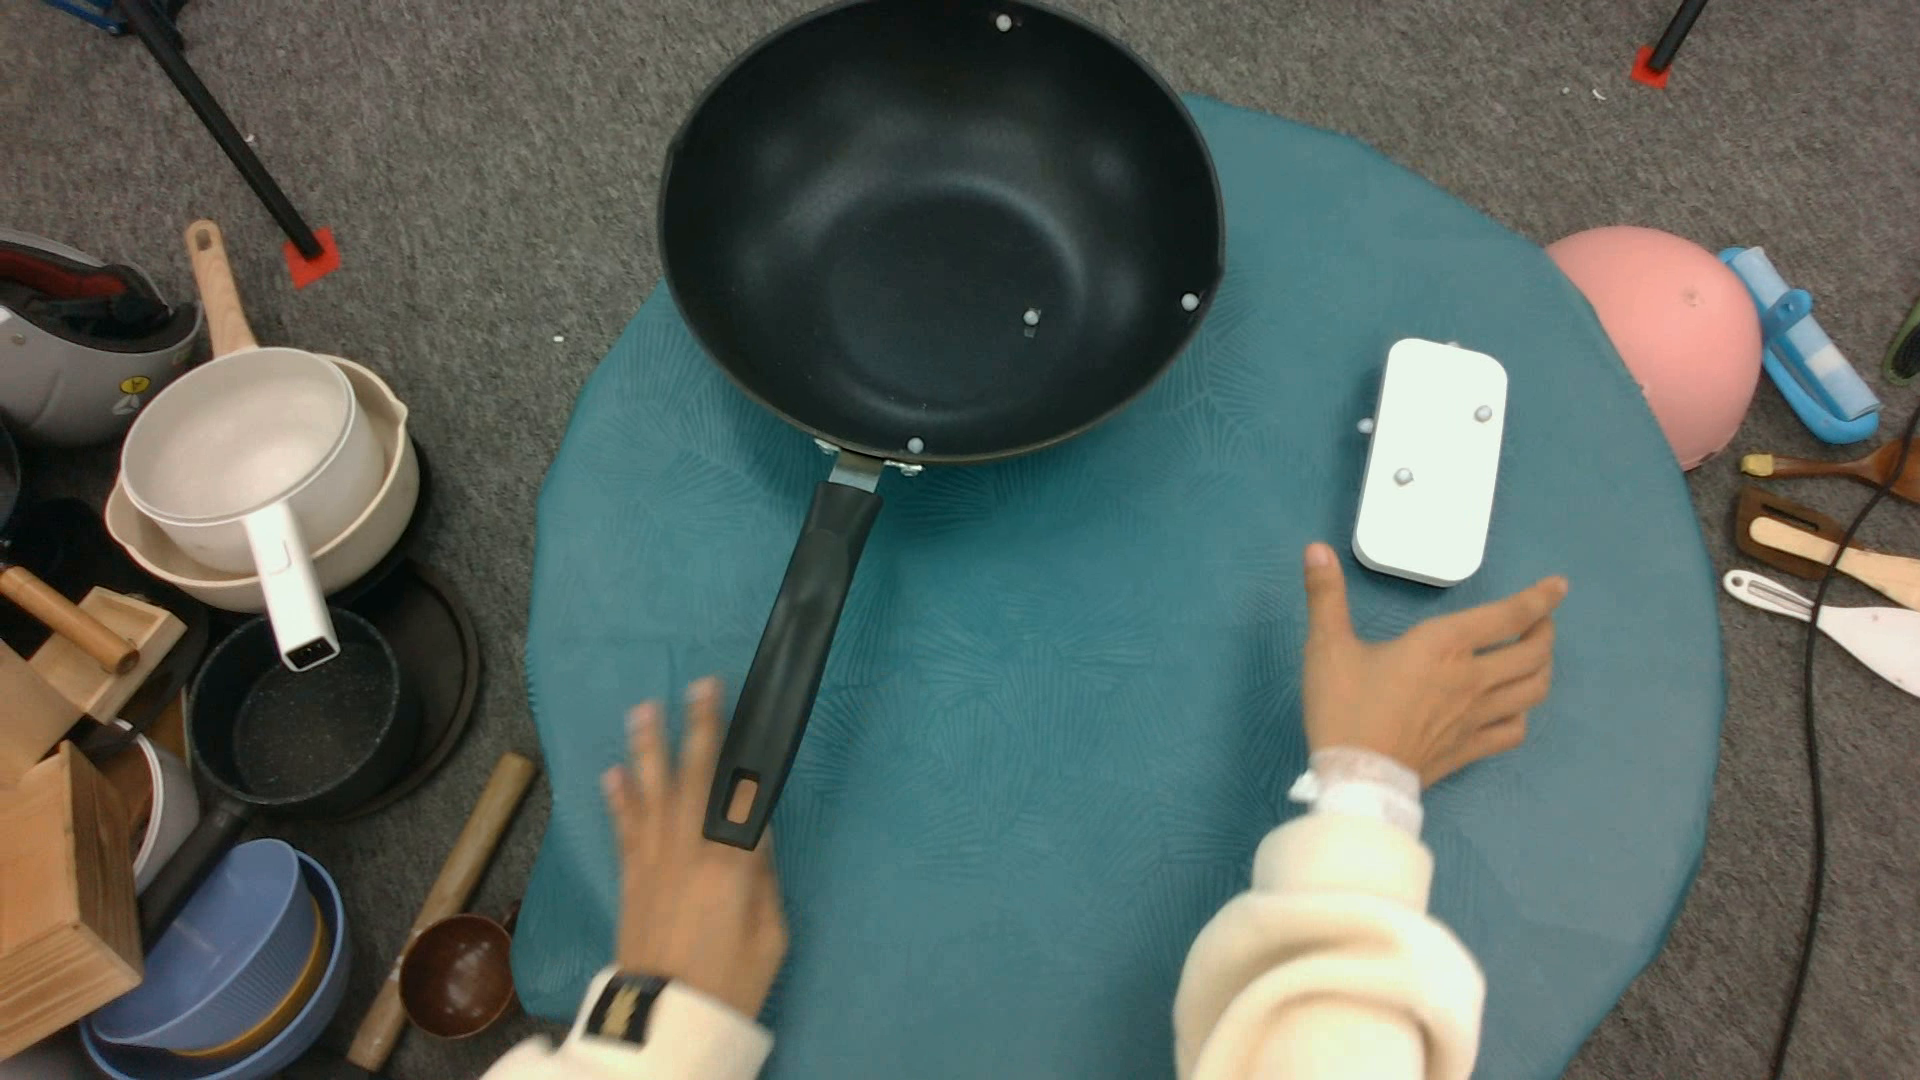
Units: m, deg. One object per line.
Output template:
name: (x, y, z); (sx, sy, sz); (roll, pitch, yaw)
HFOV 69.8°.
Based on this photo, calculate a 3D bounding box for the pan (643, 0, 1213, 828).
pan: (-0.042, -0.076, 0.688); (0.288, 0.086, 0.465); (15, 69, 5)

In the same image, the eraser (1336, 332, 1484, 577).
eraser: (0.230, -0.046, 0.710); (0.063, 0.034, 0.132); (13, 67, 7)
